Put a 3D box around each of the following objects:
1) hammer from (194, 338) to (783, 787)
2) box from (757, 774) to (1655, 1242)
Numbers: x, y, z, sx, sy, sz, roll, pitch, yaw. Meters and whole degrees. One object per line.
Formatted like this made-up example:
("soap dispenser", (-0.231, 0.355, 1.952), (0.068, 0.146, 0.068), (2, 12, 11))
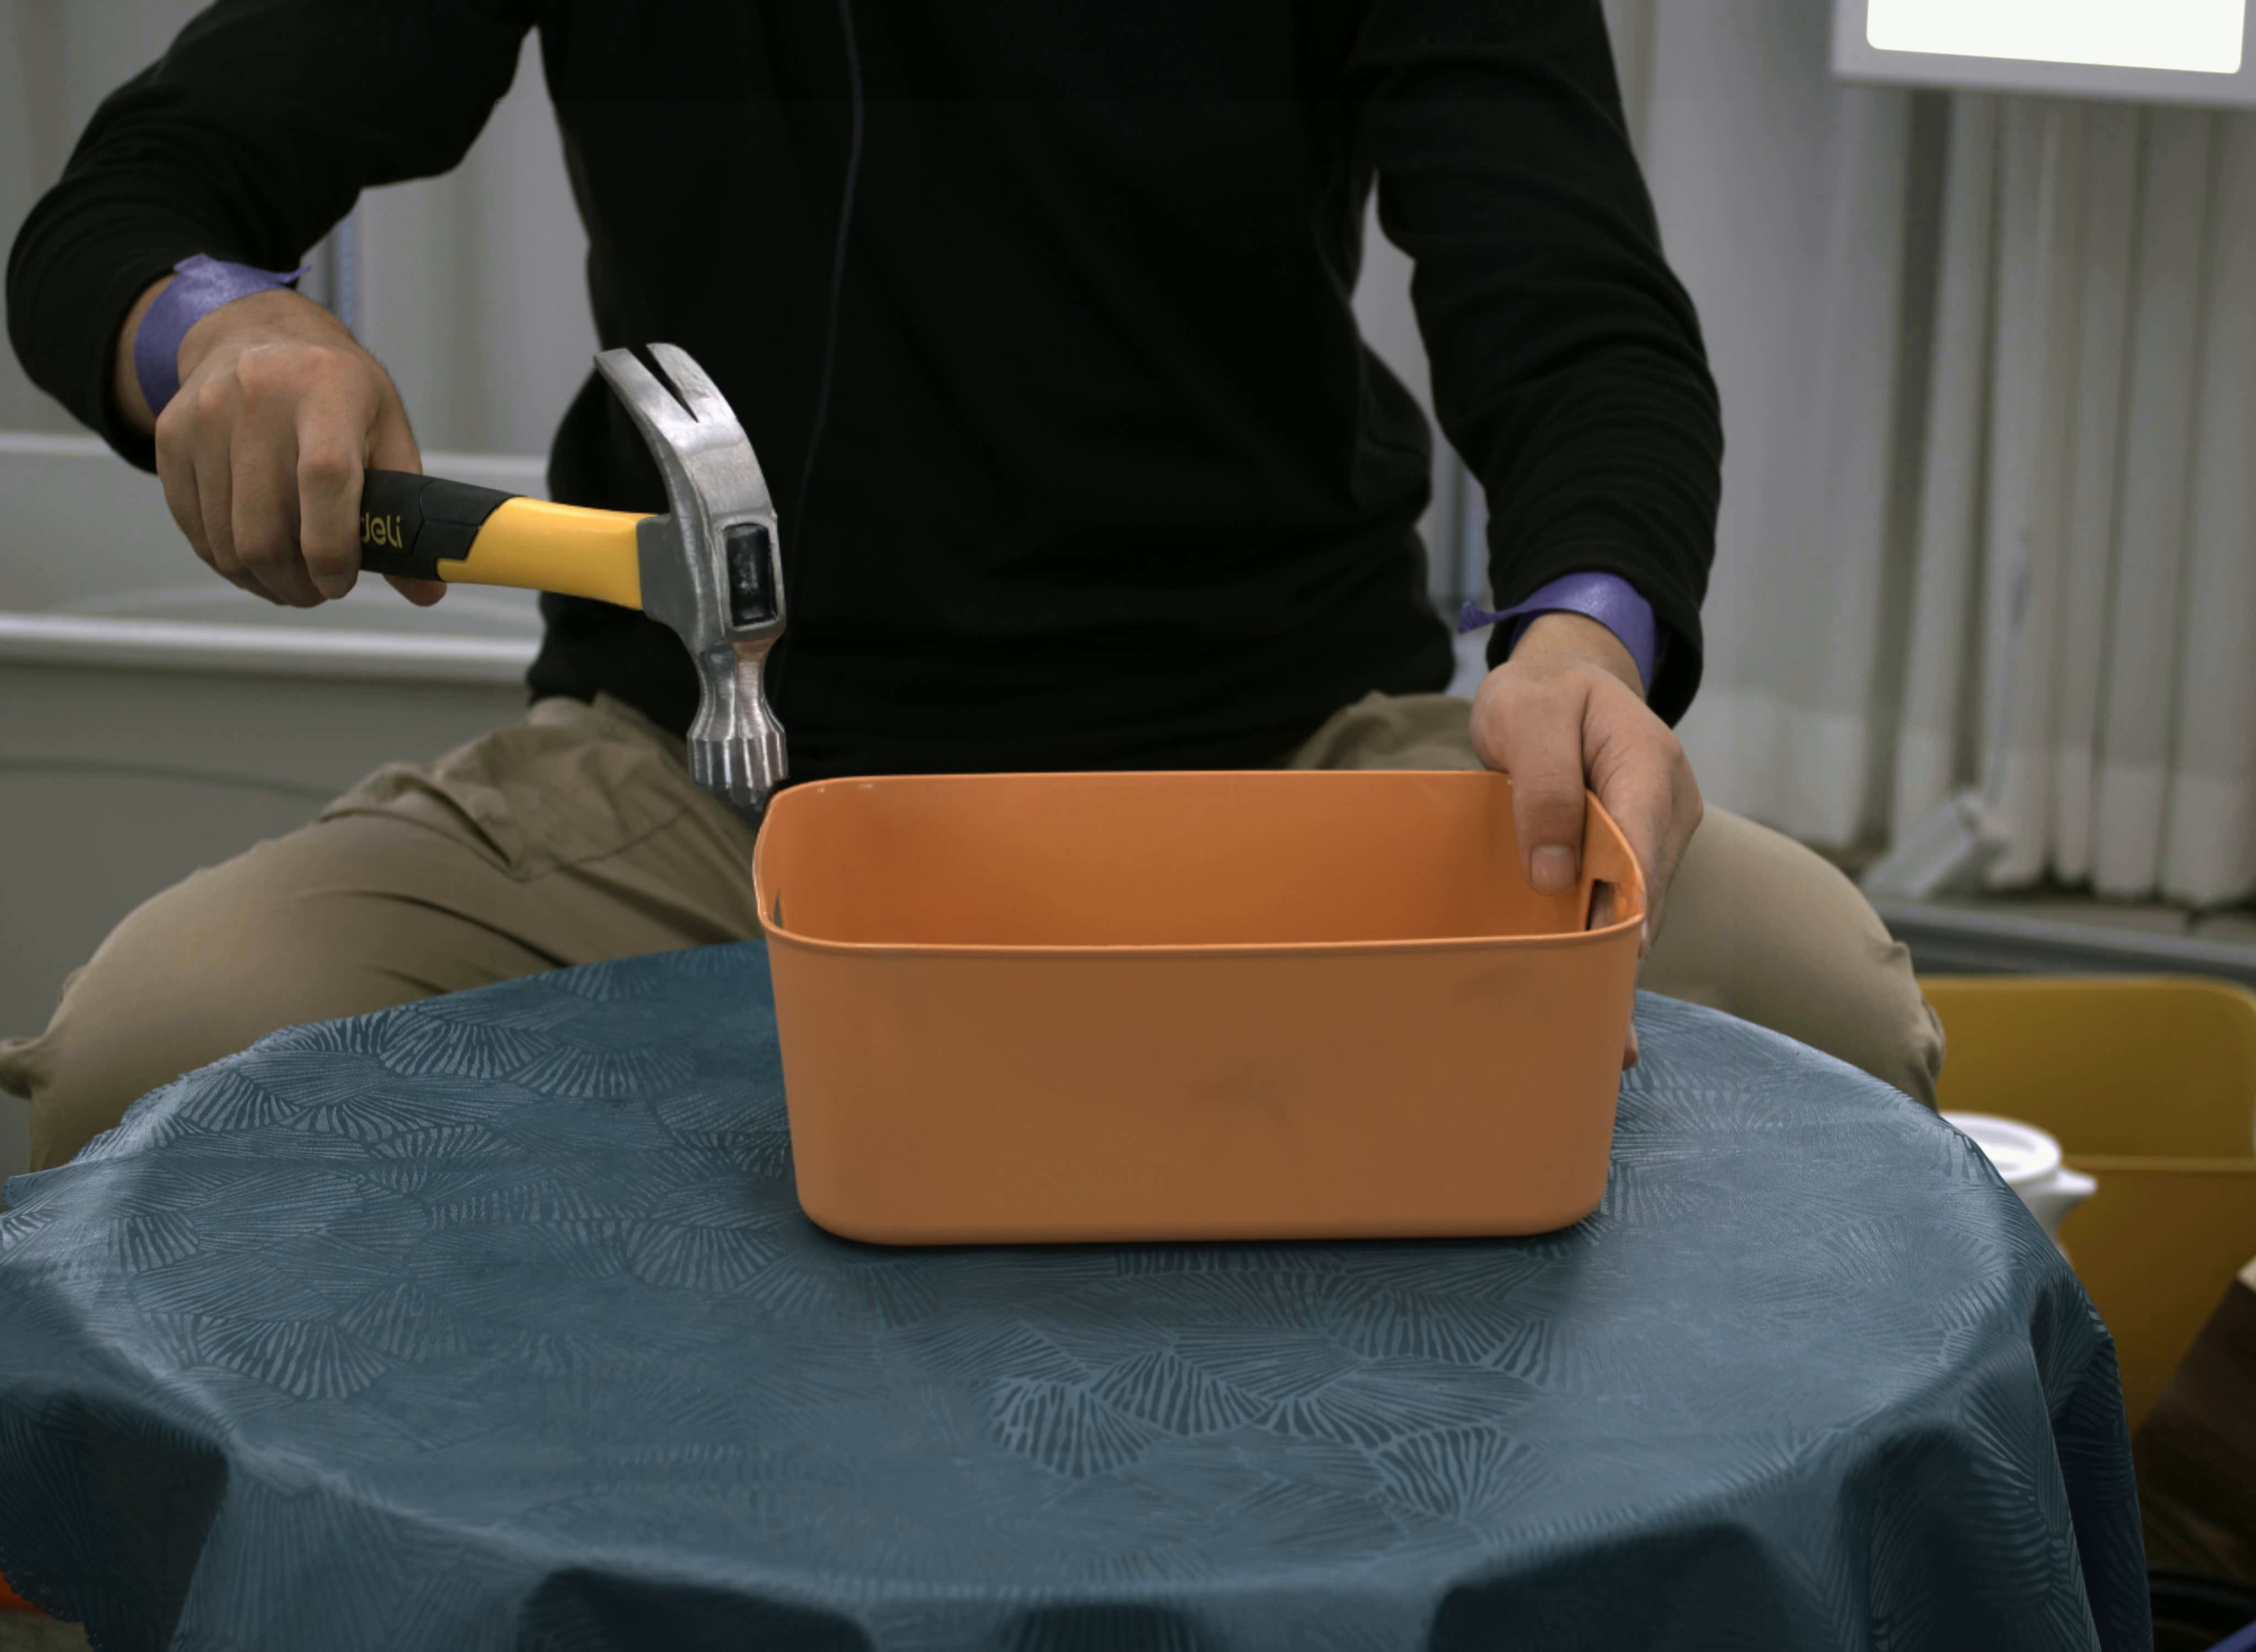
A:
("hammer", (-0.213, -0.094, 1.698), (0.032, 0.132, 0.334), (-11, 13, -36))
("box", (0.020, 0.055, 1.637), (0.273, 0.103, 0.198), (0, 15, -4))
